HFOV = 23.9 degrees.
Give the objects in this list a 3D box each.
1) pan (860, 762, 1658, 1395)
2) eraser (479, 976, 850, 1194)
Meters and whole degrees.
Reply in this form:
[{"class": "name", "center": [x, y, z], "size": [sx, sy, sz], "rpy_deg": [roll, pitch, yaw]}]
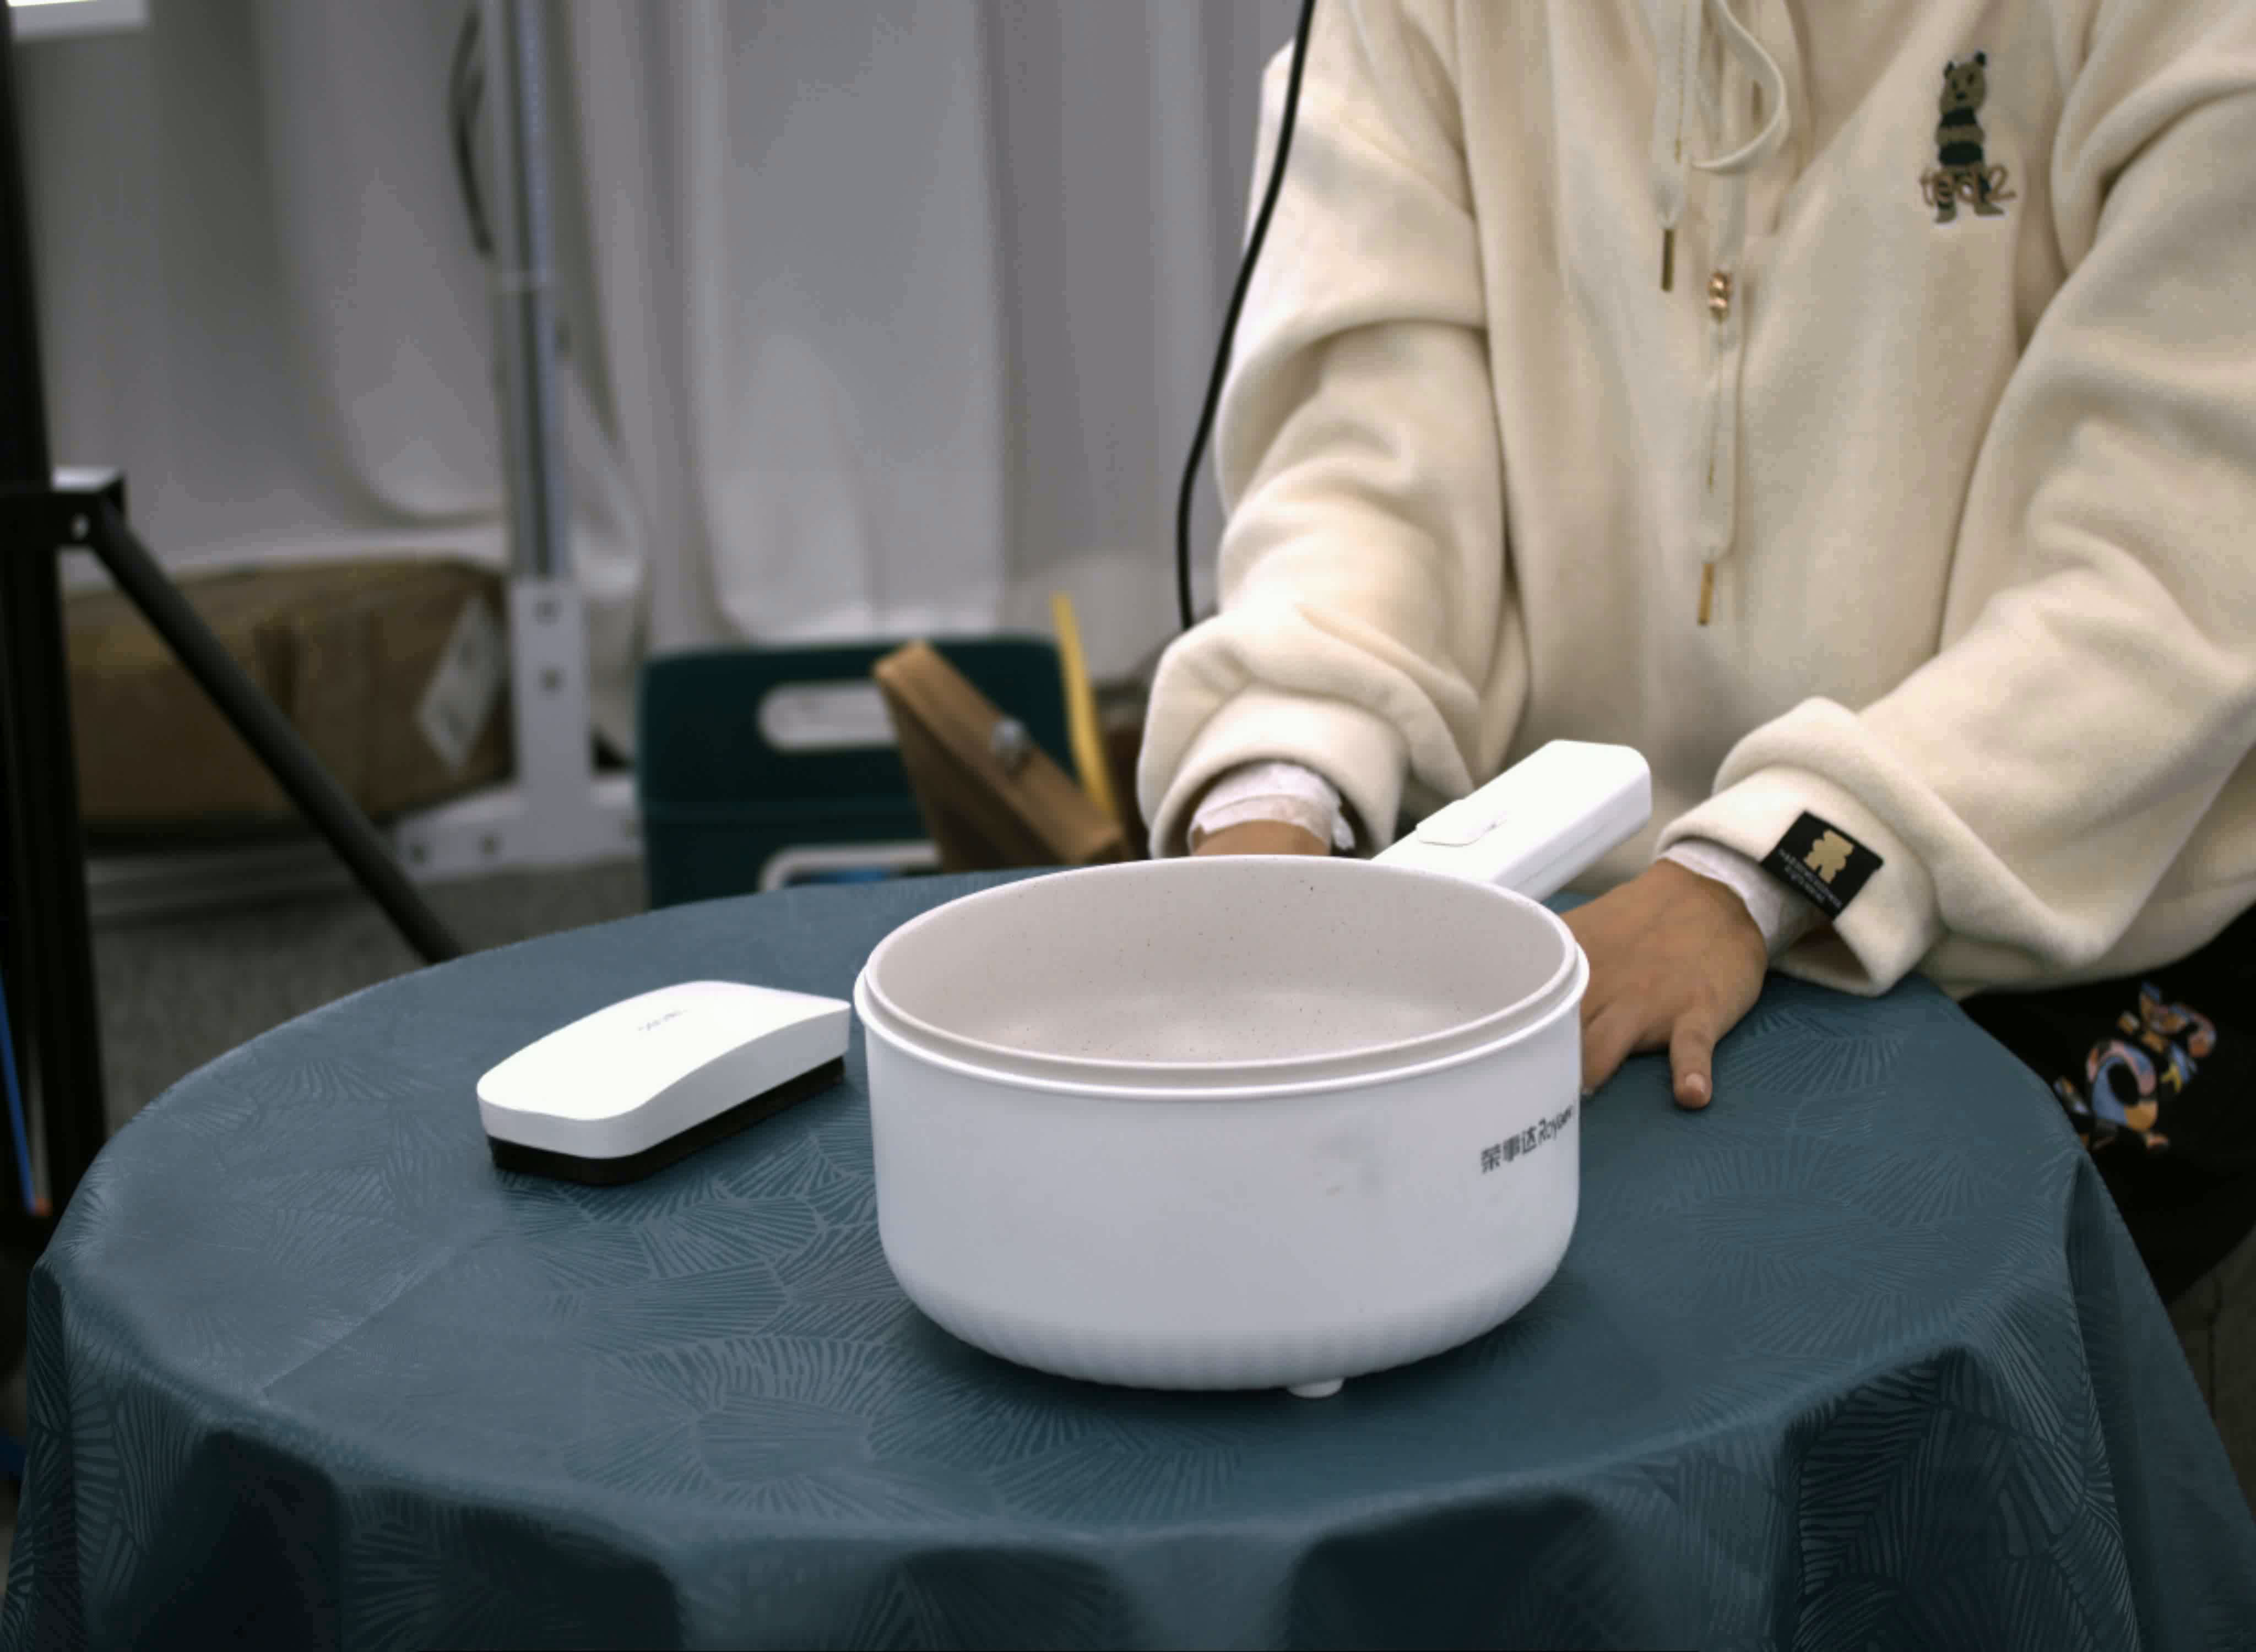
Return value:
[{"class": "pan", "center": [0.063, 0.065, 1.518], "size": [0.204, 0.102, 0.348], "rpy_deg": [7, 16, 28]}, {"class": "eraser", "center": [-0.140, 0.076, 1.639], "size": [0.064, 0.034, 0.129], "rpy_deg": [11, 21, 32]}]
